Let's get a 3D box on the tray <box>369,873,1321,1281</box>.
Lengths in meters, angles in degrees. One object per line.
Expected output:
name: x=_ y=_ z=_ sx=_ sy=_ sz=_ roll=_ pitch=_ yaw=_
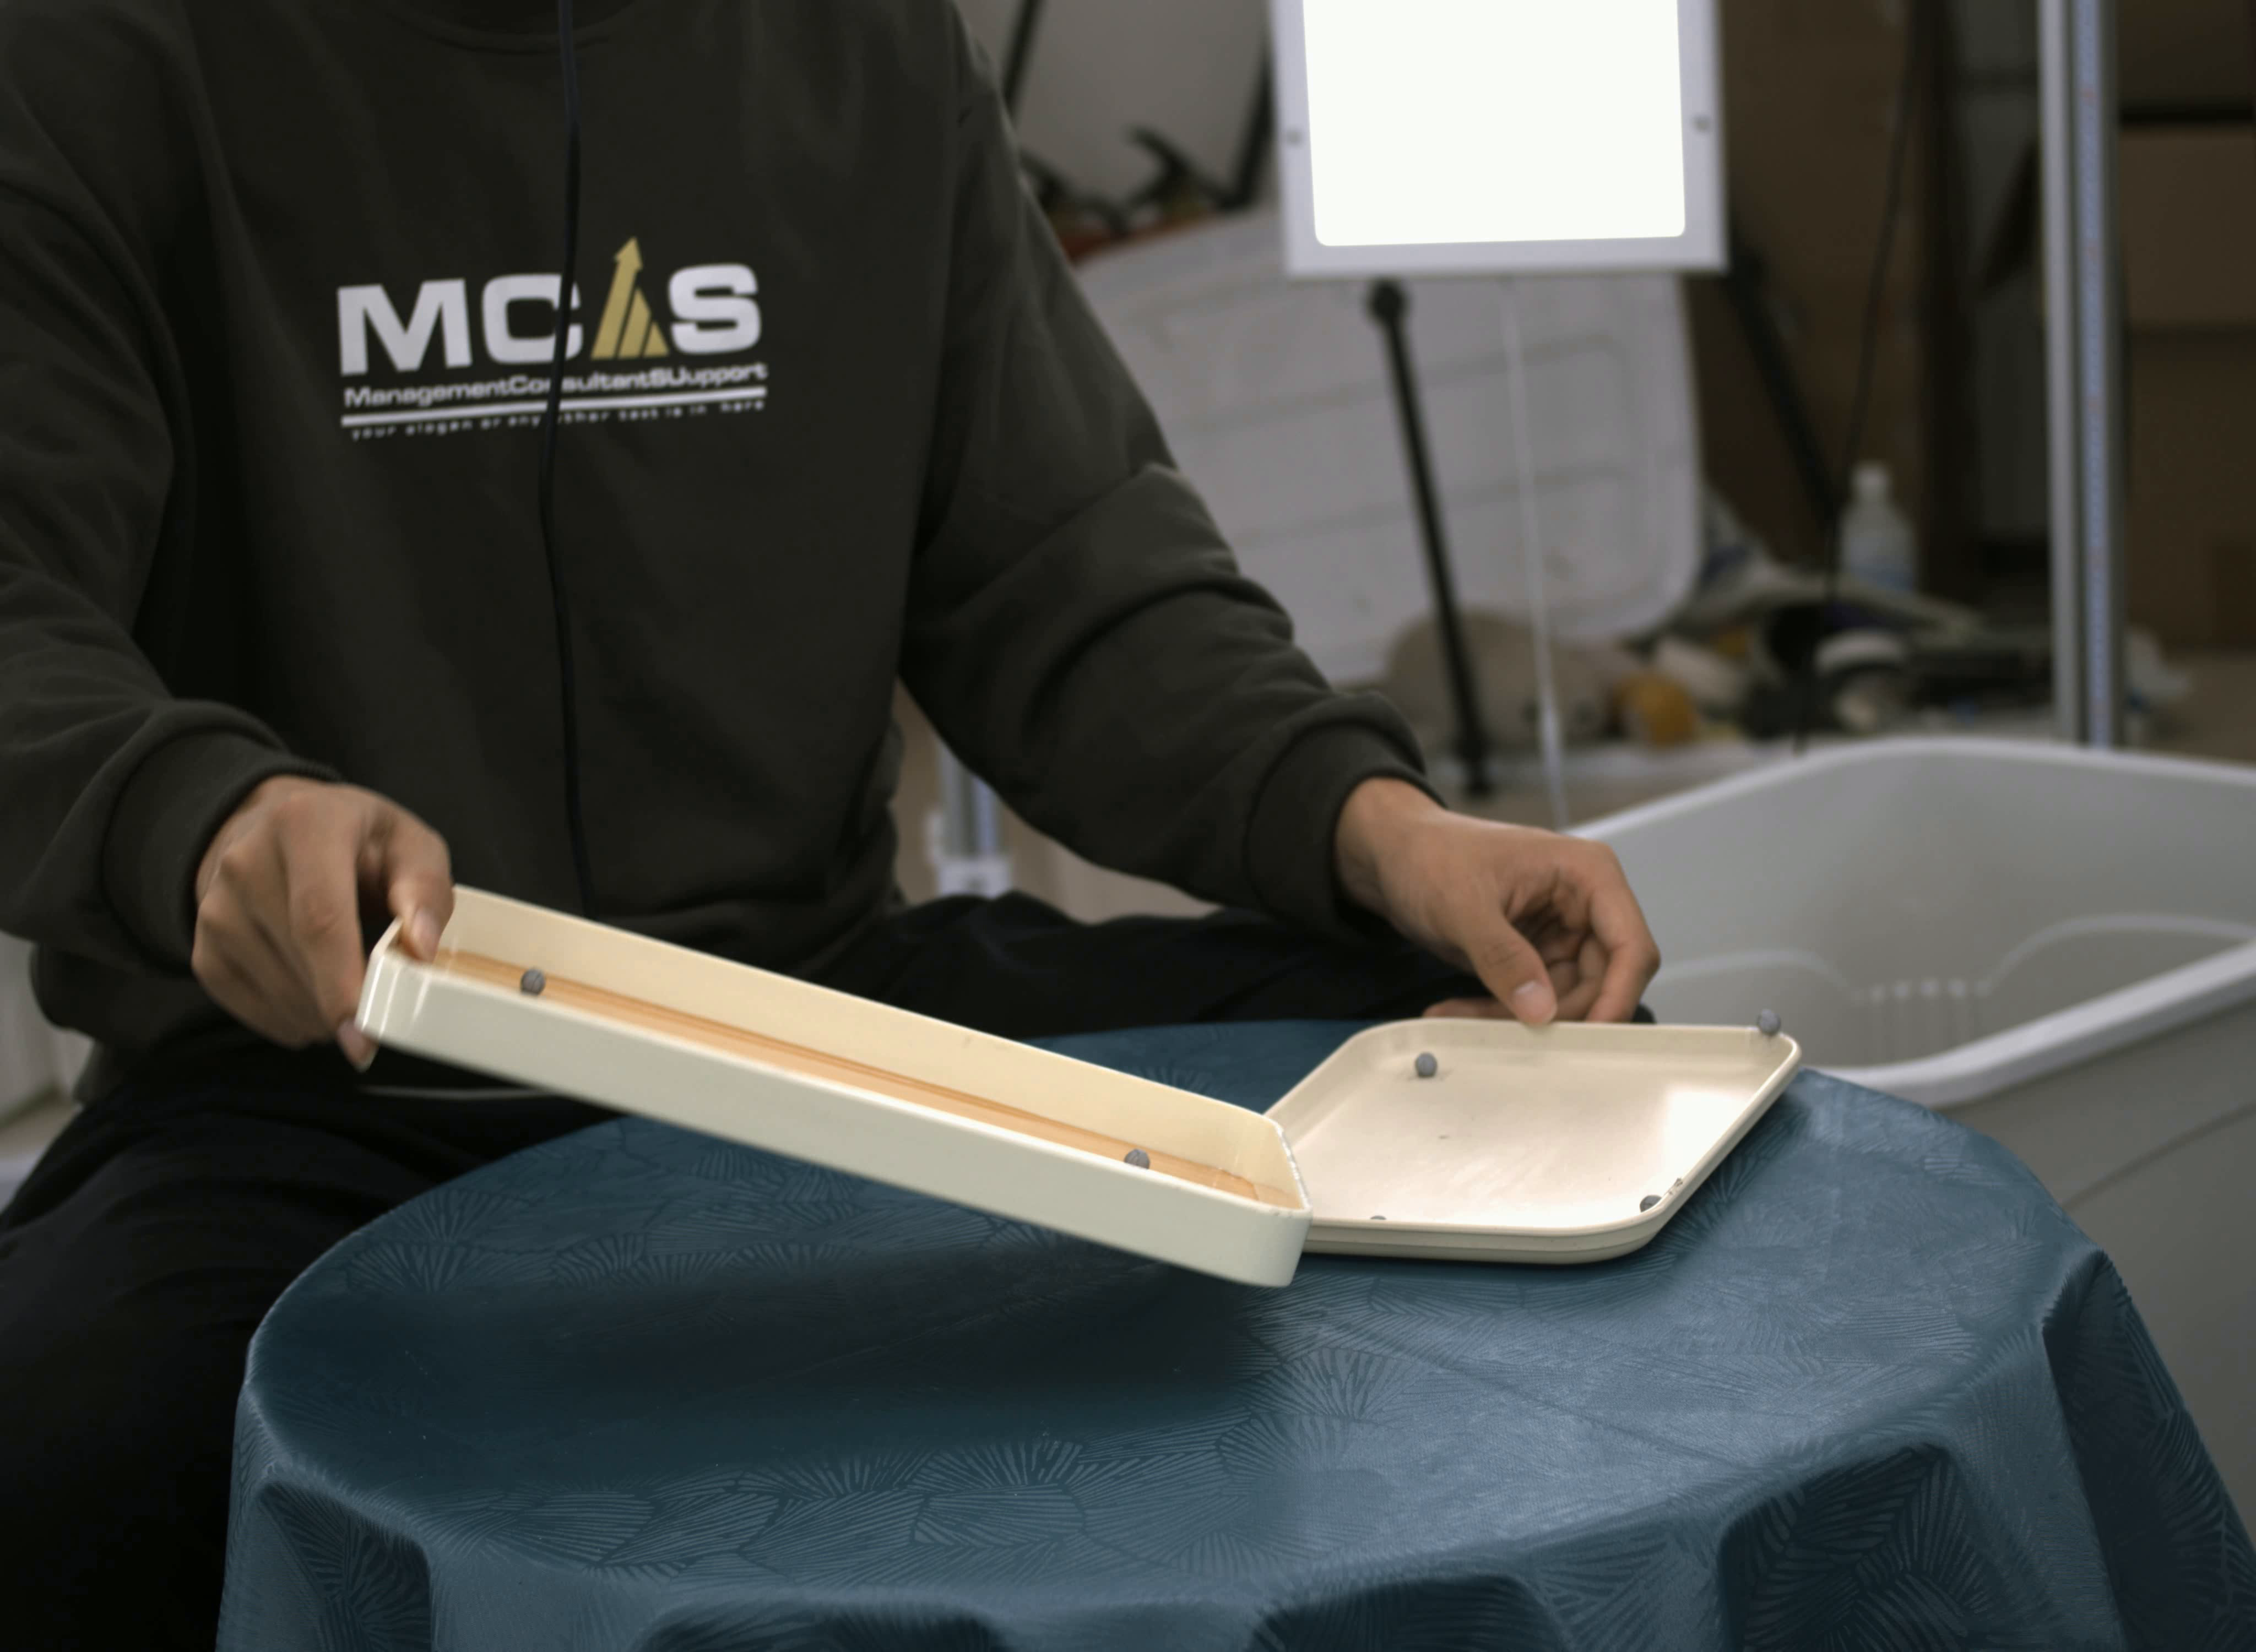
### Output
tray: x=-0.089 y=0.079 z=1.762 sx=0.299 sy=0.027 sz=0.191 roll=17 pitch=5 yaw=-2

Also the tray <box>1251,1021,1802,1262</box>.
tray: x=0.129 y=0.108 z=1.895 sx=0.174 sy=0.017 sz=0.235 roll=0 pitch=14 yaw=23
